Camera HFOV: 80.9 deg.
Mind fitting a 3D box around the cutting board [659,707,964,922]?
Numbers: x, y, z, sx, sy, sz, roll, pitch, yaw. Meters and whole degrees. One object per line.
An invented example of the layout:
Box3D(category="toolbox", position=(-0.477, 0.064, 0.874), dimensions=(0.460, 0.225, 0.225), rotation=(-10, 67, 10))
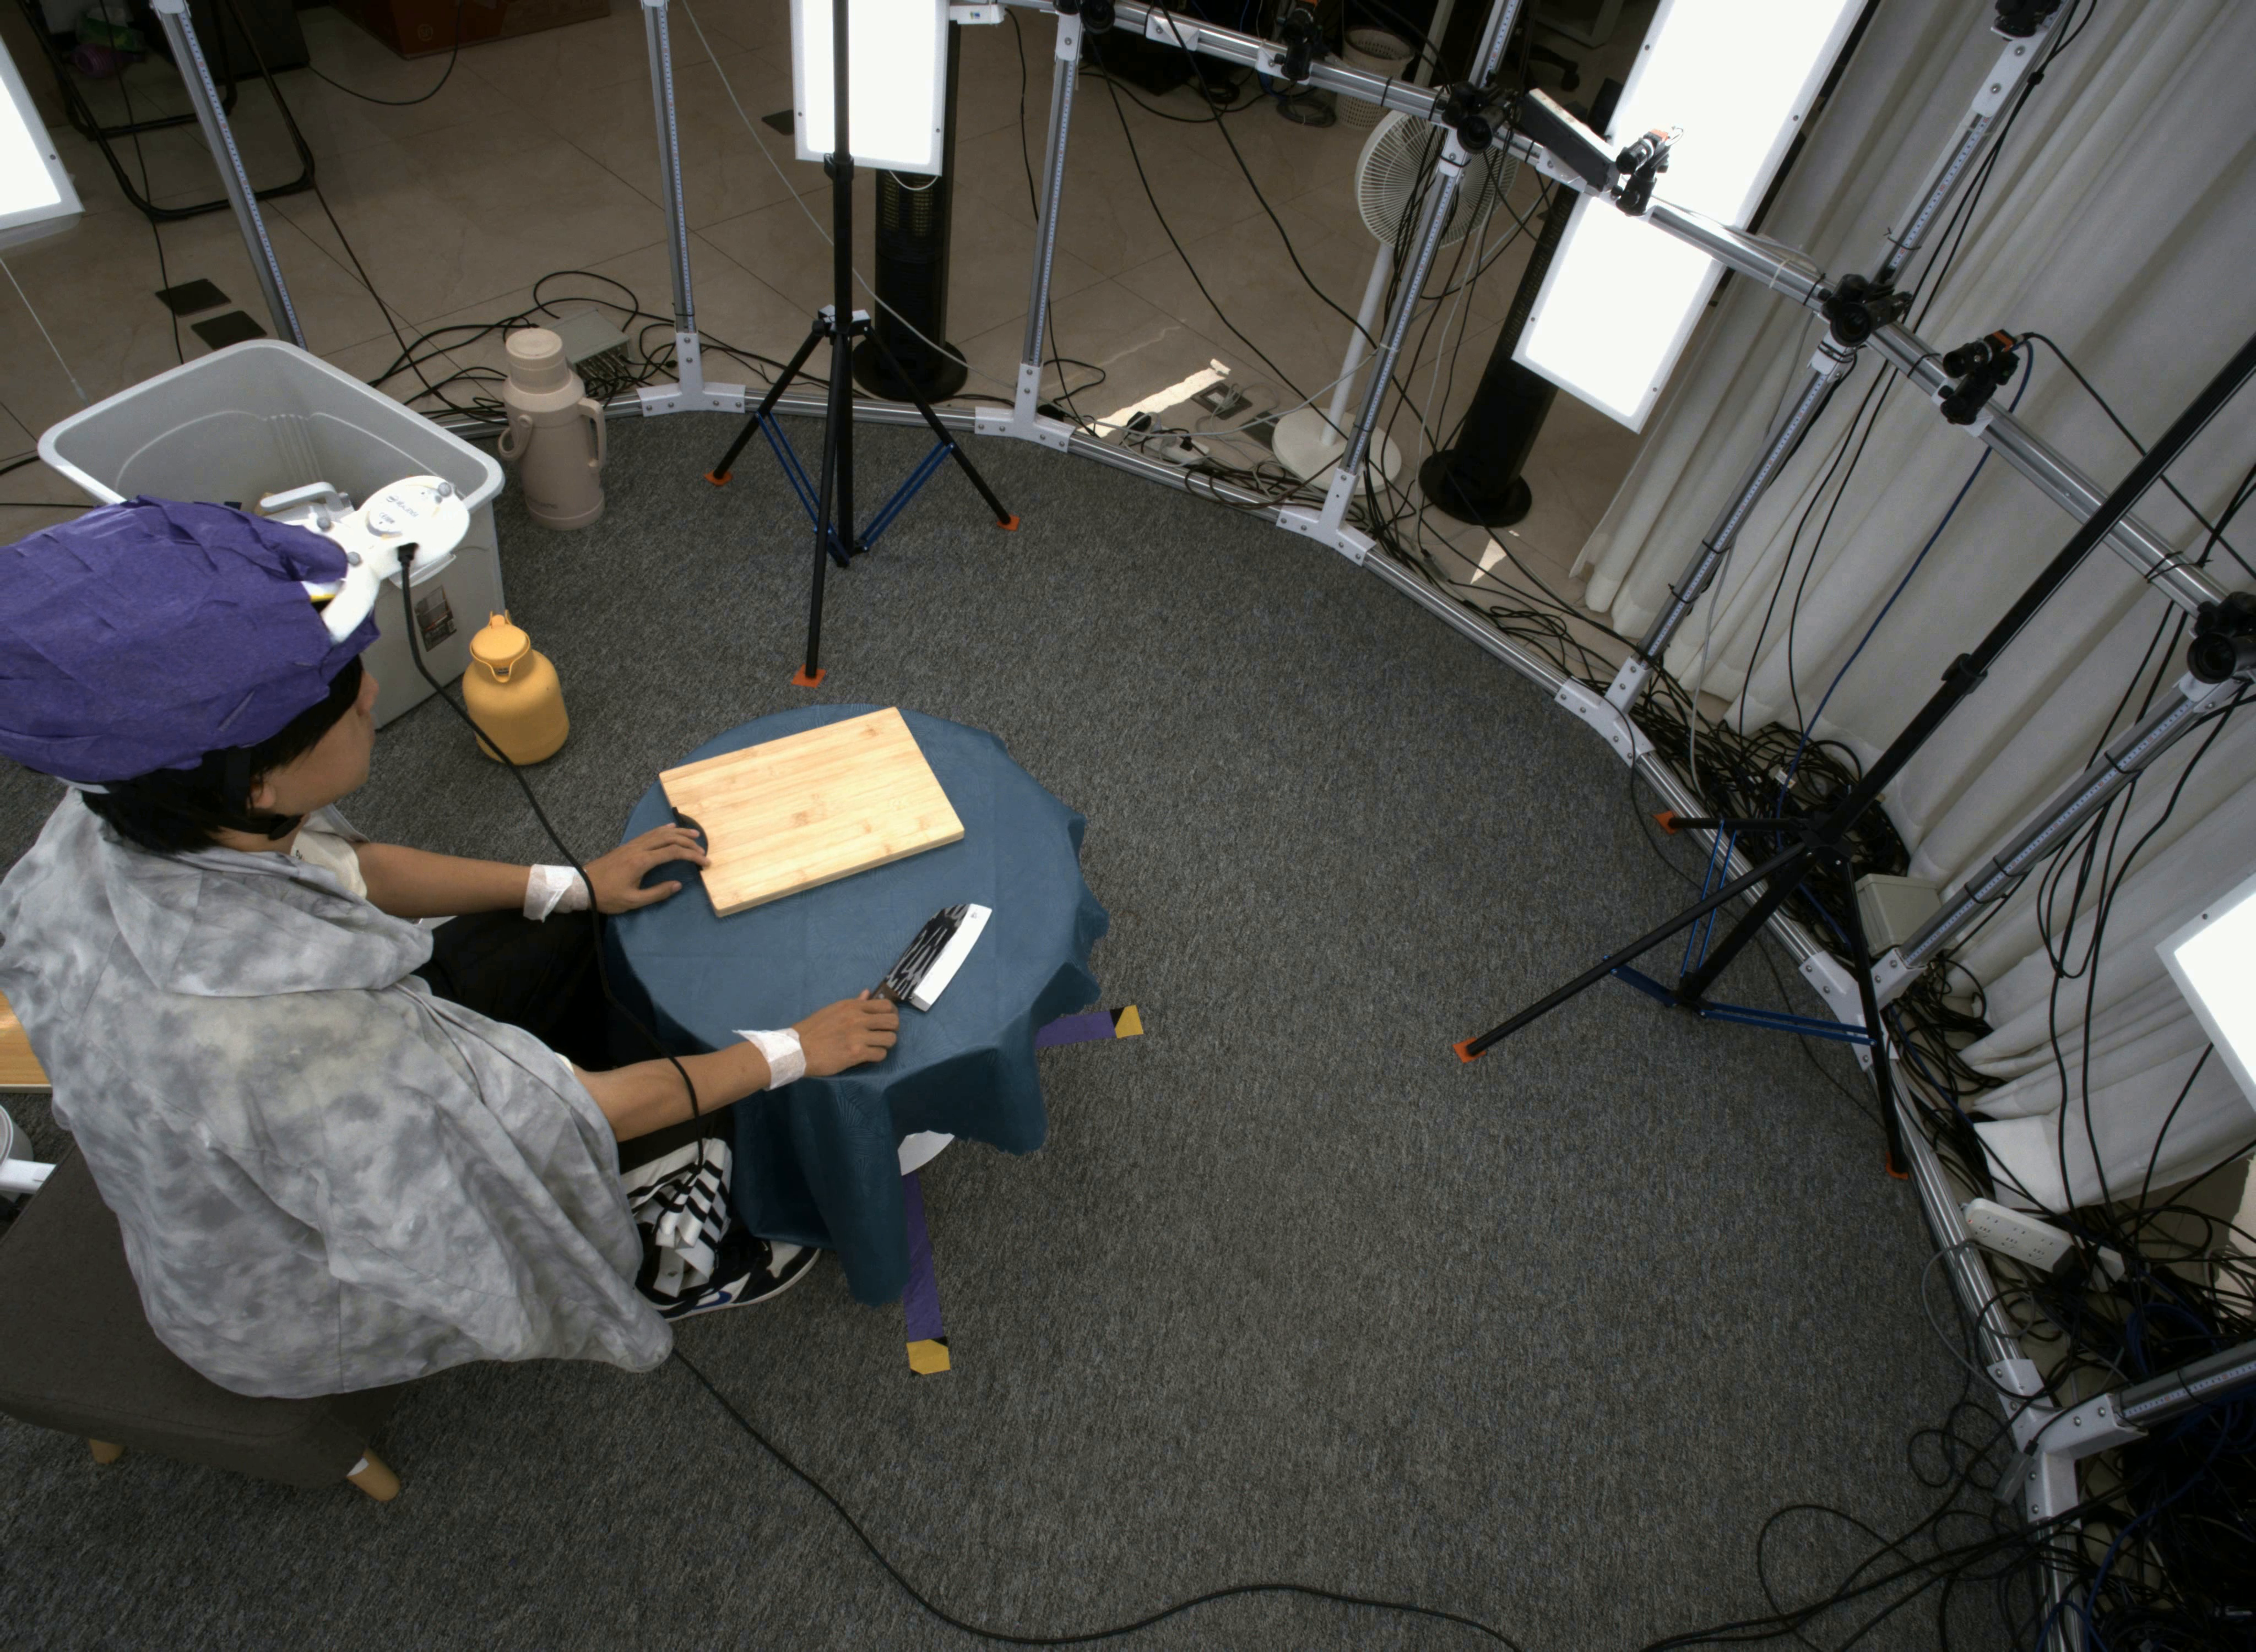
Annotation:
Box3D(category="cutting board", position=(-0.421, -0.025, 1.736), dimensions=(0.350, 0.024, 0.244), rotation=(-20, 61, -26))

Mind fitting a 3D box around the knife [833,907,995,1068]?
Box3D(category="knife", position=(-0.258, 0.193, 1.611), dimensions=(0.067, 0.024, 0.298), rotation=(32, 51, 3))
